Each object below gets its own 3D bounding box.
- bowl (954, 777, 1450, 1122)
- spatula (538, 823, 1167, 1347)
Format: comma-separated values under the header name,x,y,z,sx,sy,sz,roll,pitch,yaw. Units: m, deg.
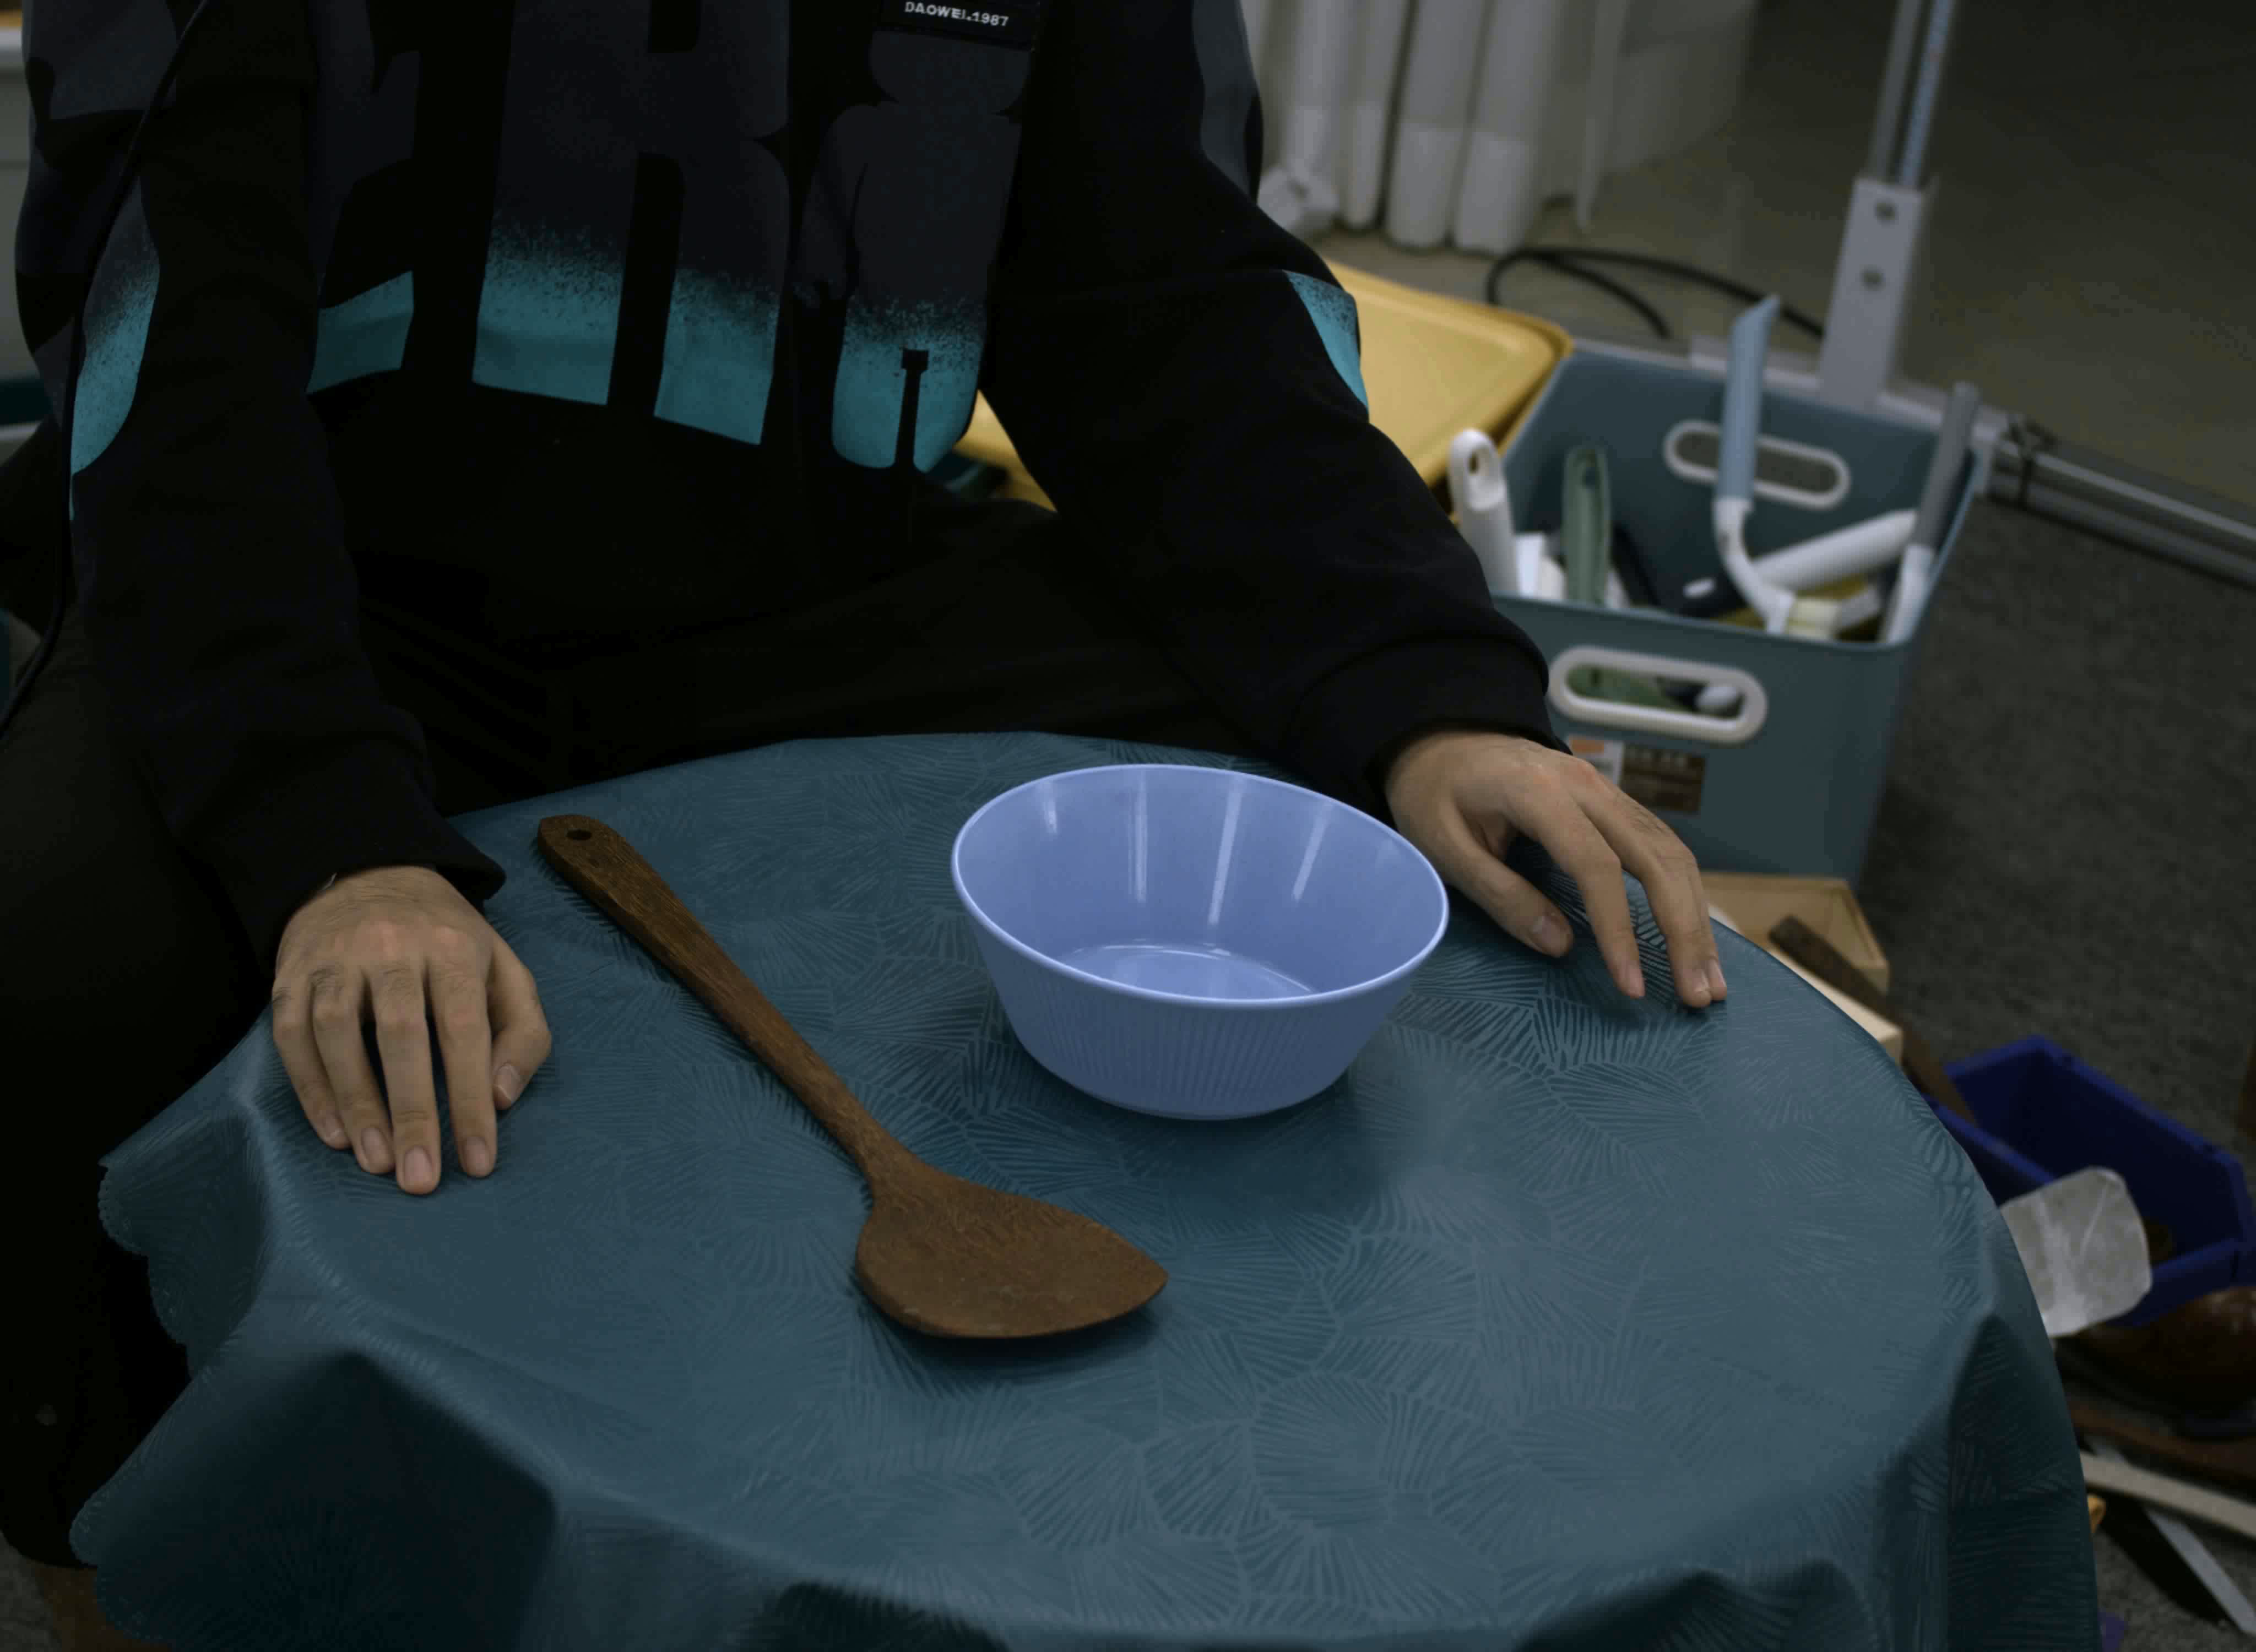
name,x,y,z,sx,sy,sz,roll,pitch,yaw
bowl,0.023,0.049,1.877,0.175,0.070,0.177,4,25,-2
spatula,-0.116,0.081,1.843,0.095,0.016,0.389,-9,31,-29
